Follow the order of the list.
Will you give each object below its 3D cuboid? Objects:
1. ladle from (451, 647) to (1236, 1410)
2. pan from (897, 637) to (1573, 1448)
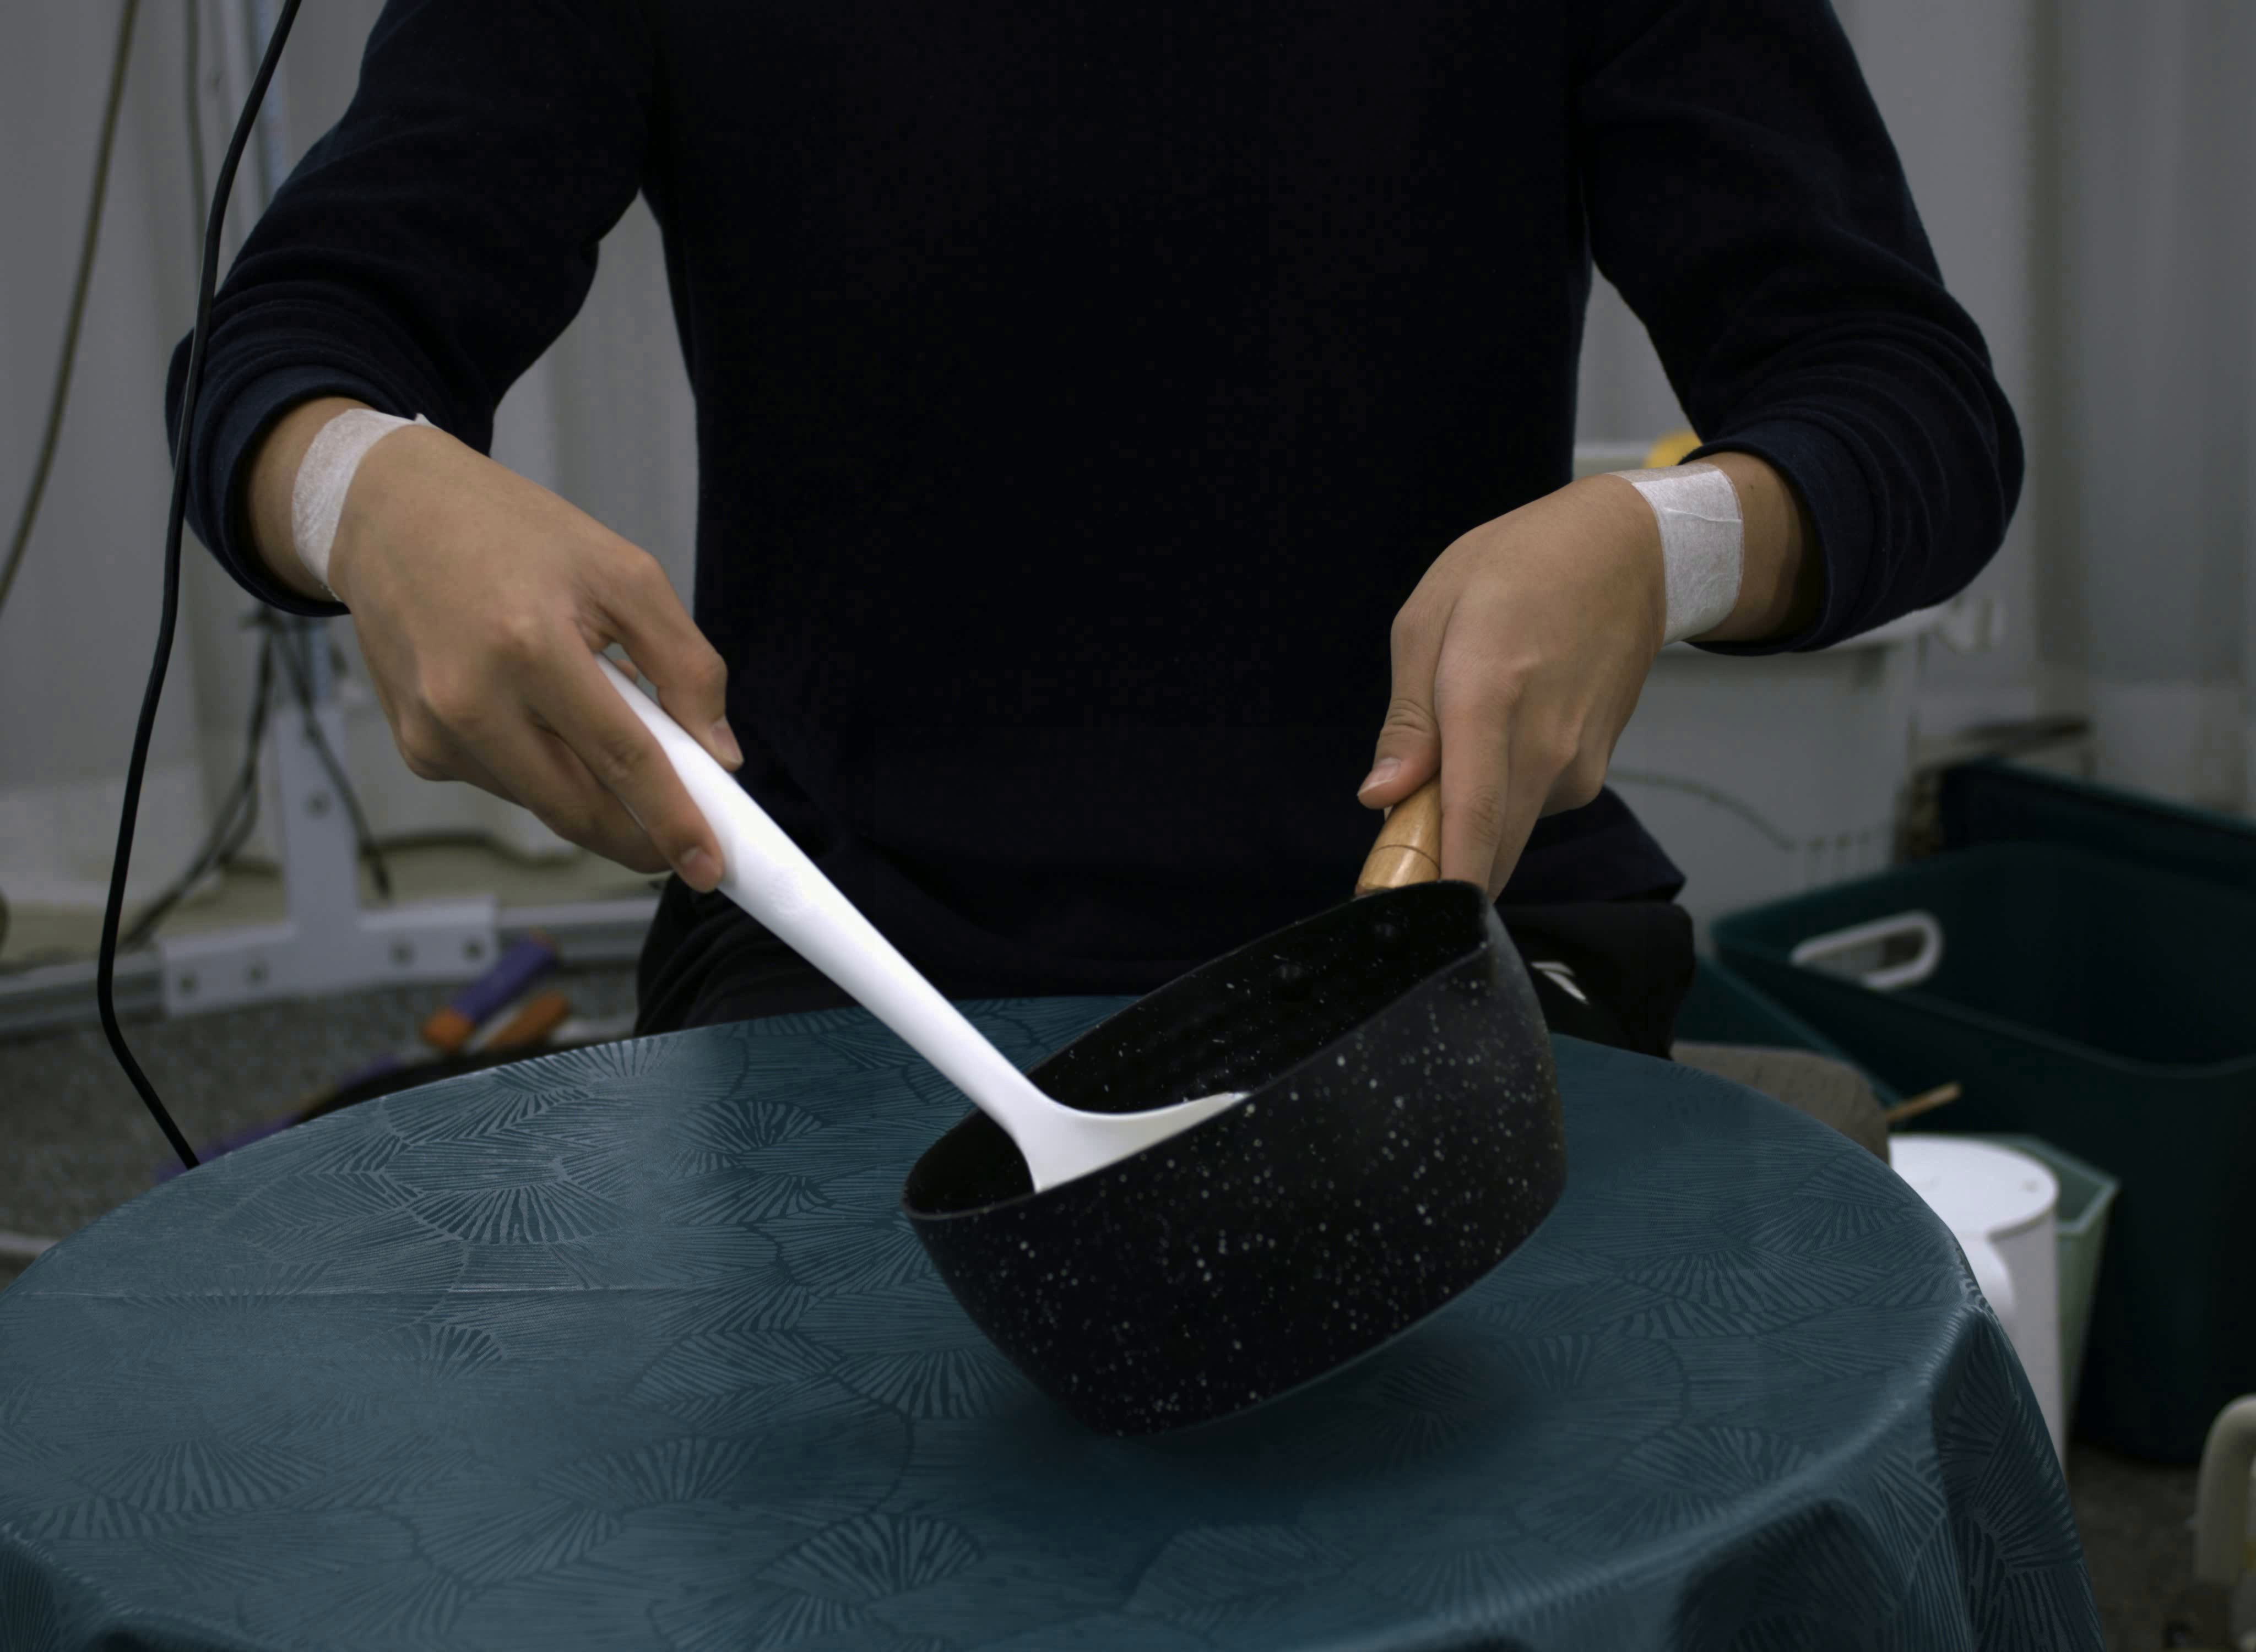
[{"bbox_3d":[-0.078,0.048,1.516,0.294,0.090,0.069,40,0,14],"label":"ladle"},{"bbox_3d":[0.064,0.056,1.579,0.207,0.108,0.345,-24,12,33],"label":"pan"}]
